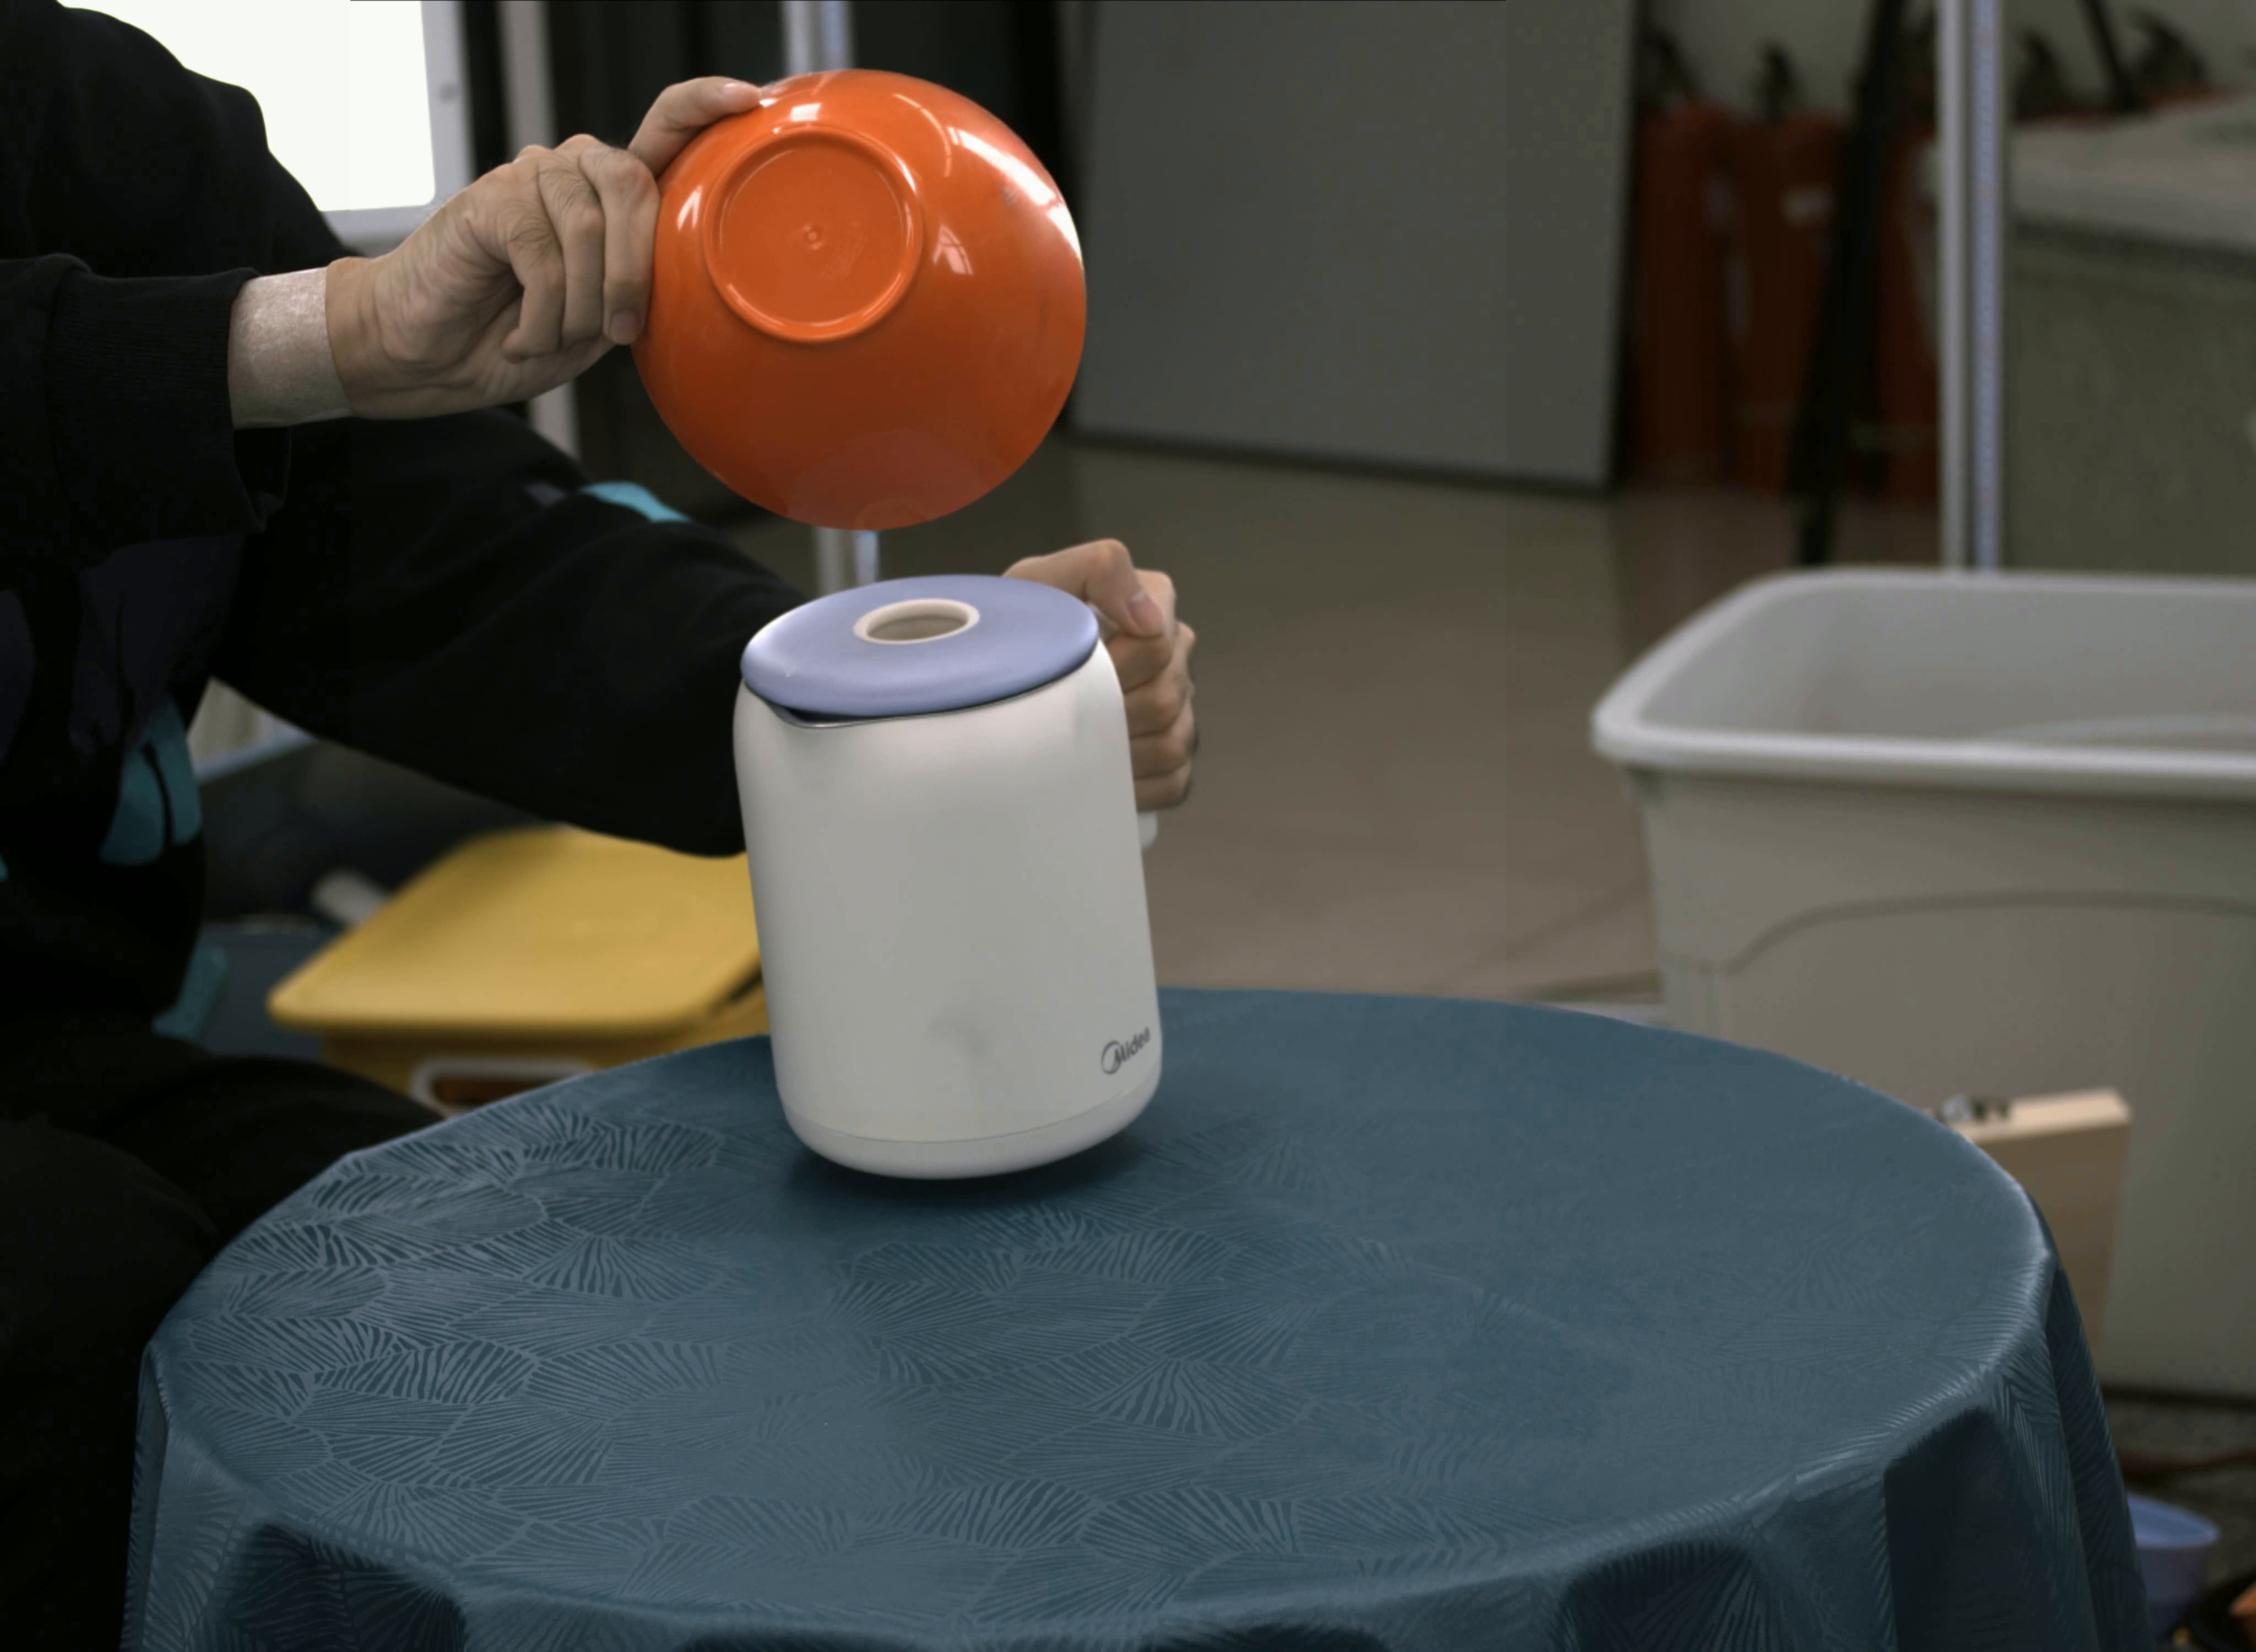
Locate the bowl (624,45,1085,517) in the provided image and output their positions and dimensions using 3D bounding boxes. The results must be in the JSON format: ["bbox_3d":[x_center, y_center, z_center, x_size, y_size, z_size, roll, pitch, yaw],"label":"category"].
[{"bbox_3d":[-0.086,-0.176,1.679,0.146,0.150,0.104,-3,-5,2],"label":"bowl"}]

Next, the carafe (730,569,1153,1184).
[{"bbox_3d":[-0.049,0.008,1.808,0.133,0.184,0.188,7,22,30],"label":"carafe"}]
